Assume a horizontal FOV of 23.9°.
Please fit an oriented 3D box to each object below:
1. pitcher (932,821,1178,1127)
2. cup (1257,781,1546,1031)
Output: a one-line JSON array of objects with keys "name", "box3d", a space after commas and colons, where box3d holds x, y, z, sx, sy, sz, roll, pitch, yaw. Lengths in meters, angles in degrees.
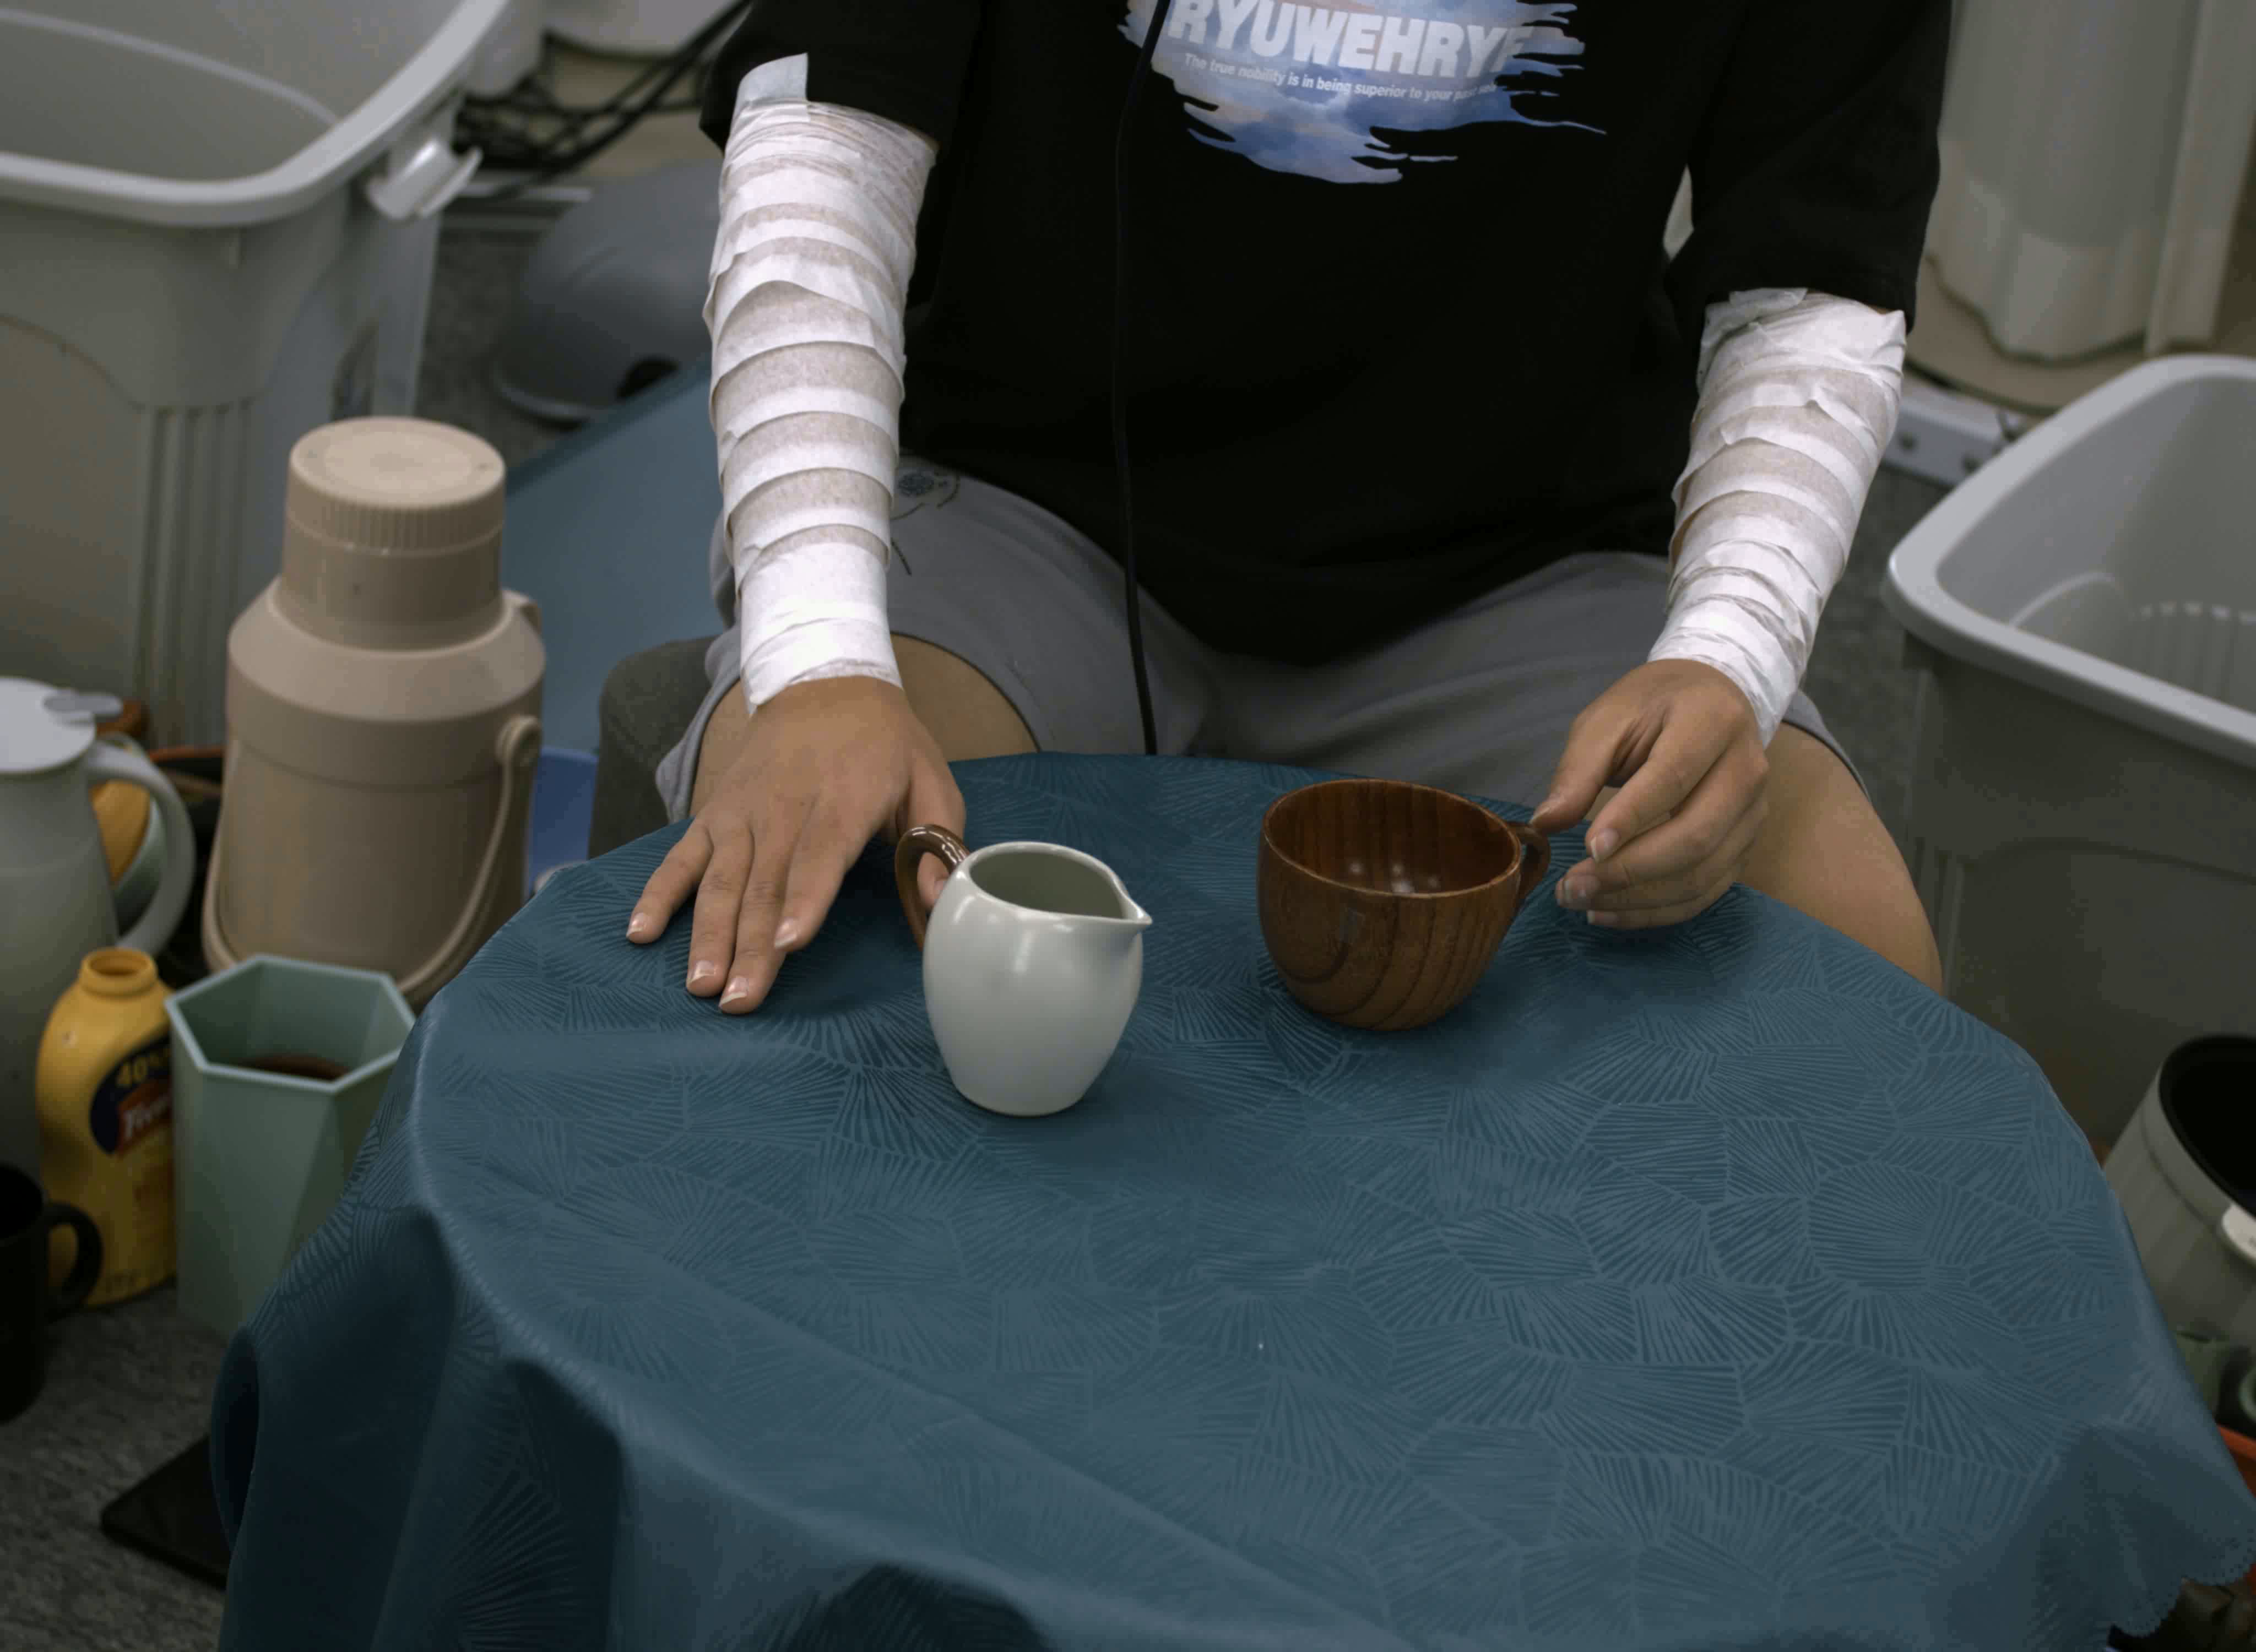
[{"name": "pitcher", "box3d": [-0.032, 0.052, 1.840, 0.075, 0.087, 0.120, -11, 34, -41]}, {"name": "cup", "box3d": [0.103, 0.031, 1.939, 0.118, 0.067, 0.097, -8, 27, -31]}]
